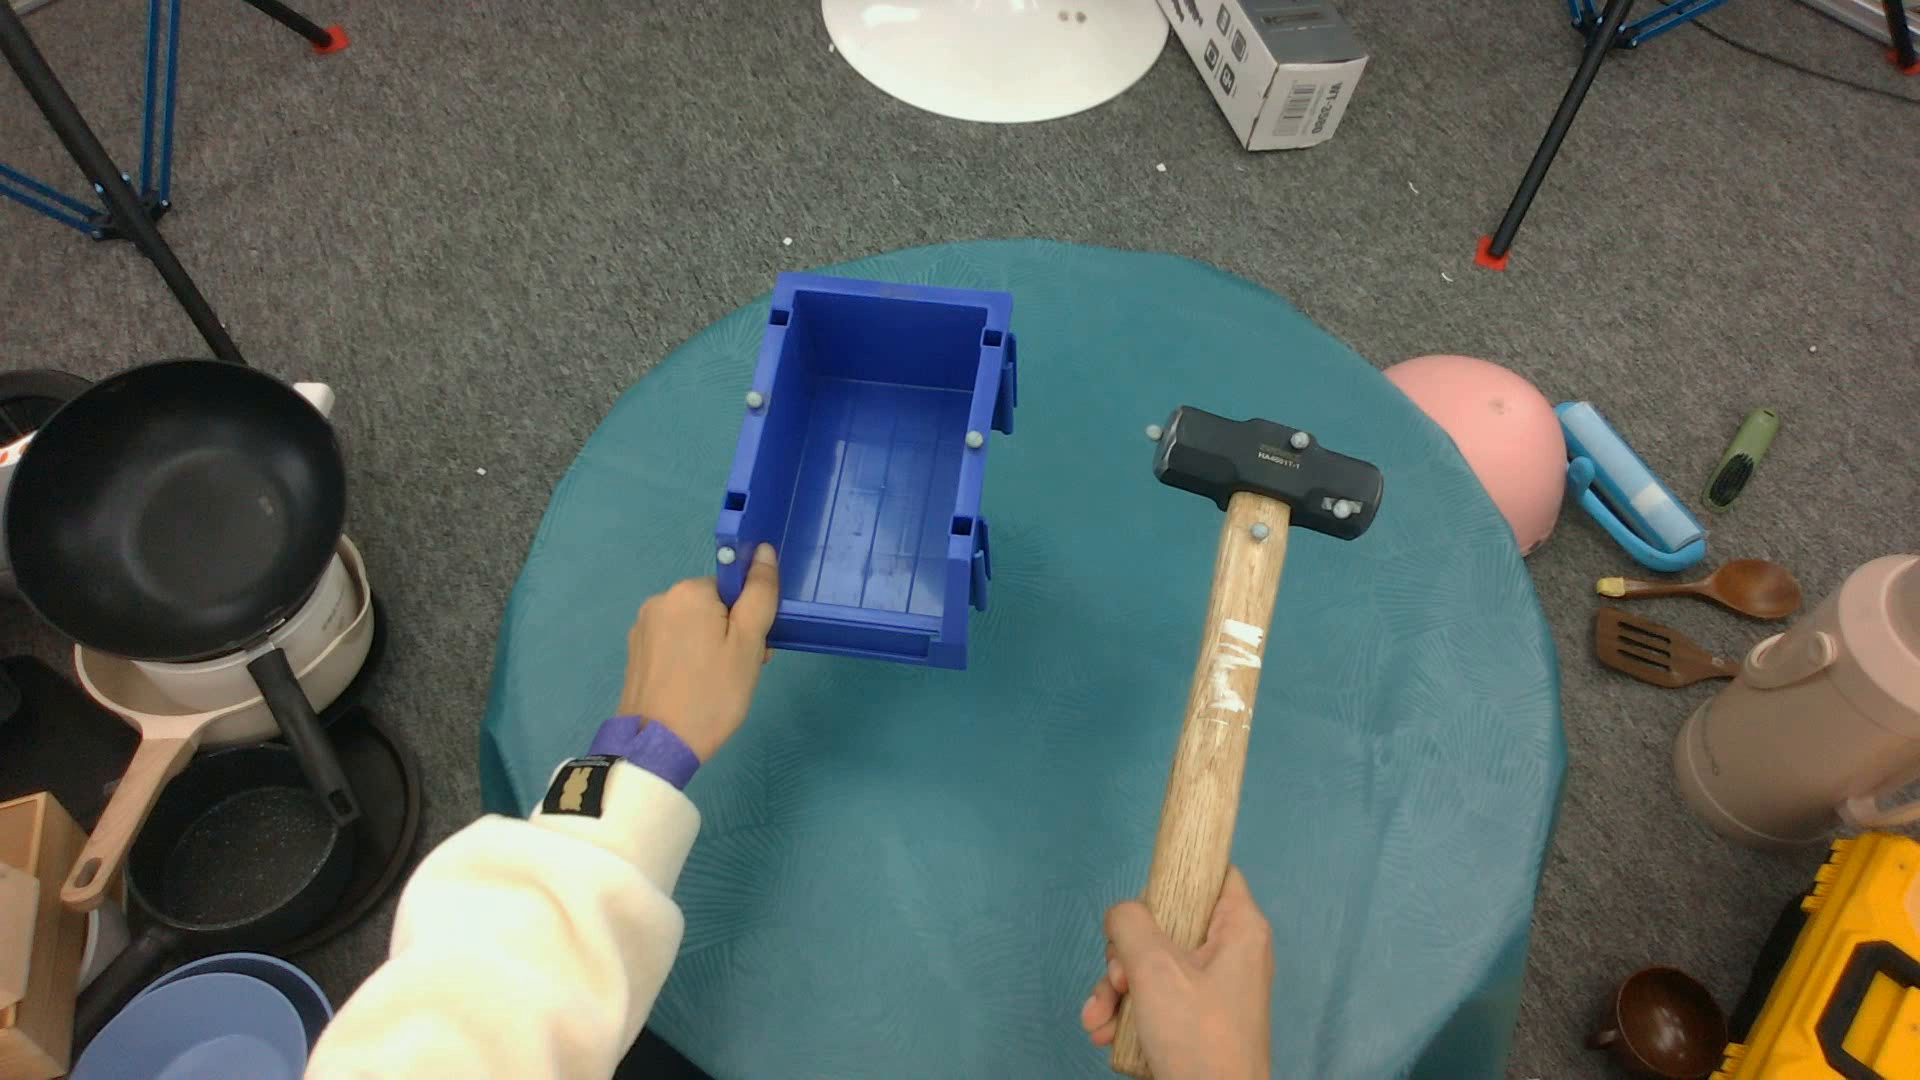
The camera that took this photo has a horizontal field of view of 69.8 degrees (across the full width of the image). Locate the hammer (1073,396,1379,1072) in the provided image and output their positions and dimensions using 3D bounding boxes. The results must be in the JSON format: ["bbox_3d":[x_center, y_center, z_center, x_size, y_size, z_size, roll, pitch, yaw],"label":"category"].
[{"bbox_3d":[0.107,0.078,0.616,0.107,0.038,0.306,19,65,0],"label":"hammer"}]

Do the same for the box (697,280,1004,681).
[{"bbox_3d":[-0.049,-0.028,0.682,0.124,0.081,0.180,7,62,5],"label":"box"}]
